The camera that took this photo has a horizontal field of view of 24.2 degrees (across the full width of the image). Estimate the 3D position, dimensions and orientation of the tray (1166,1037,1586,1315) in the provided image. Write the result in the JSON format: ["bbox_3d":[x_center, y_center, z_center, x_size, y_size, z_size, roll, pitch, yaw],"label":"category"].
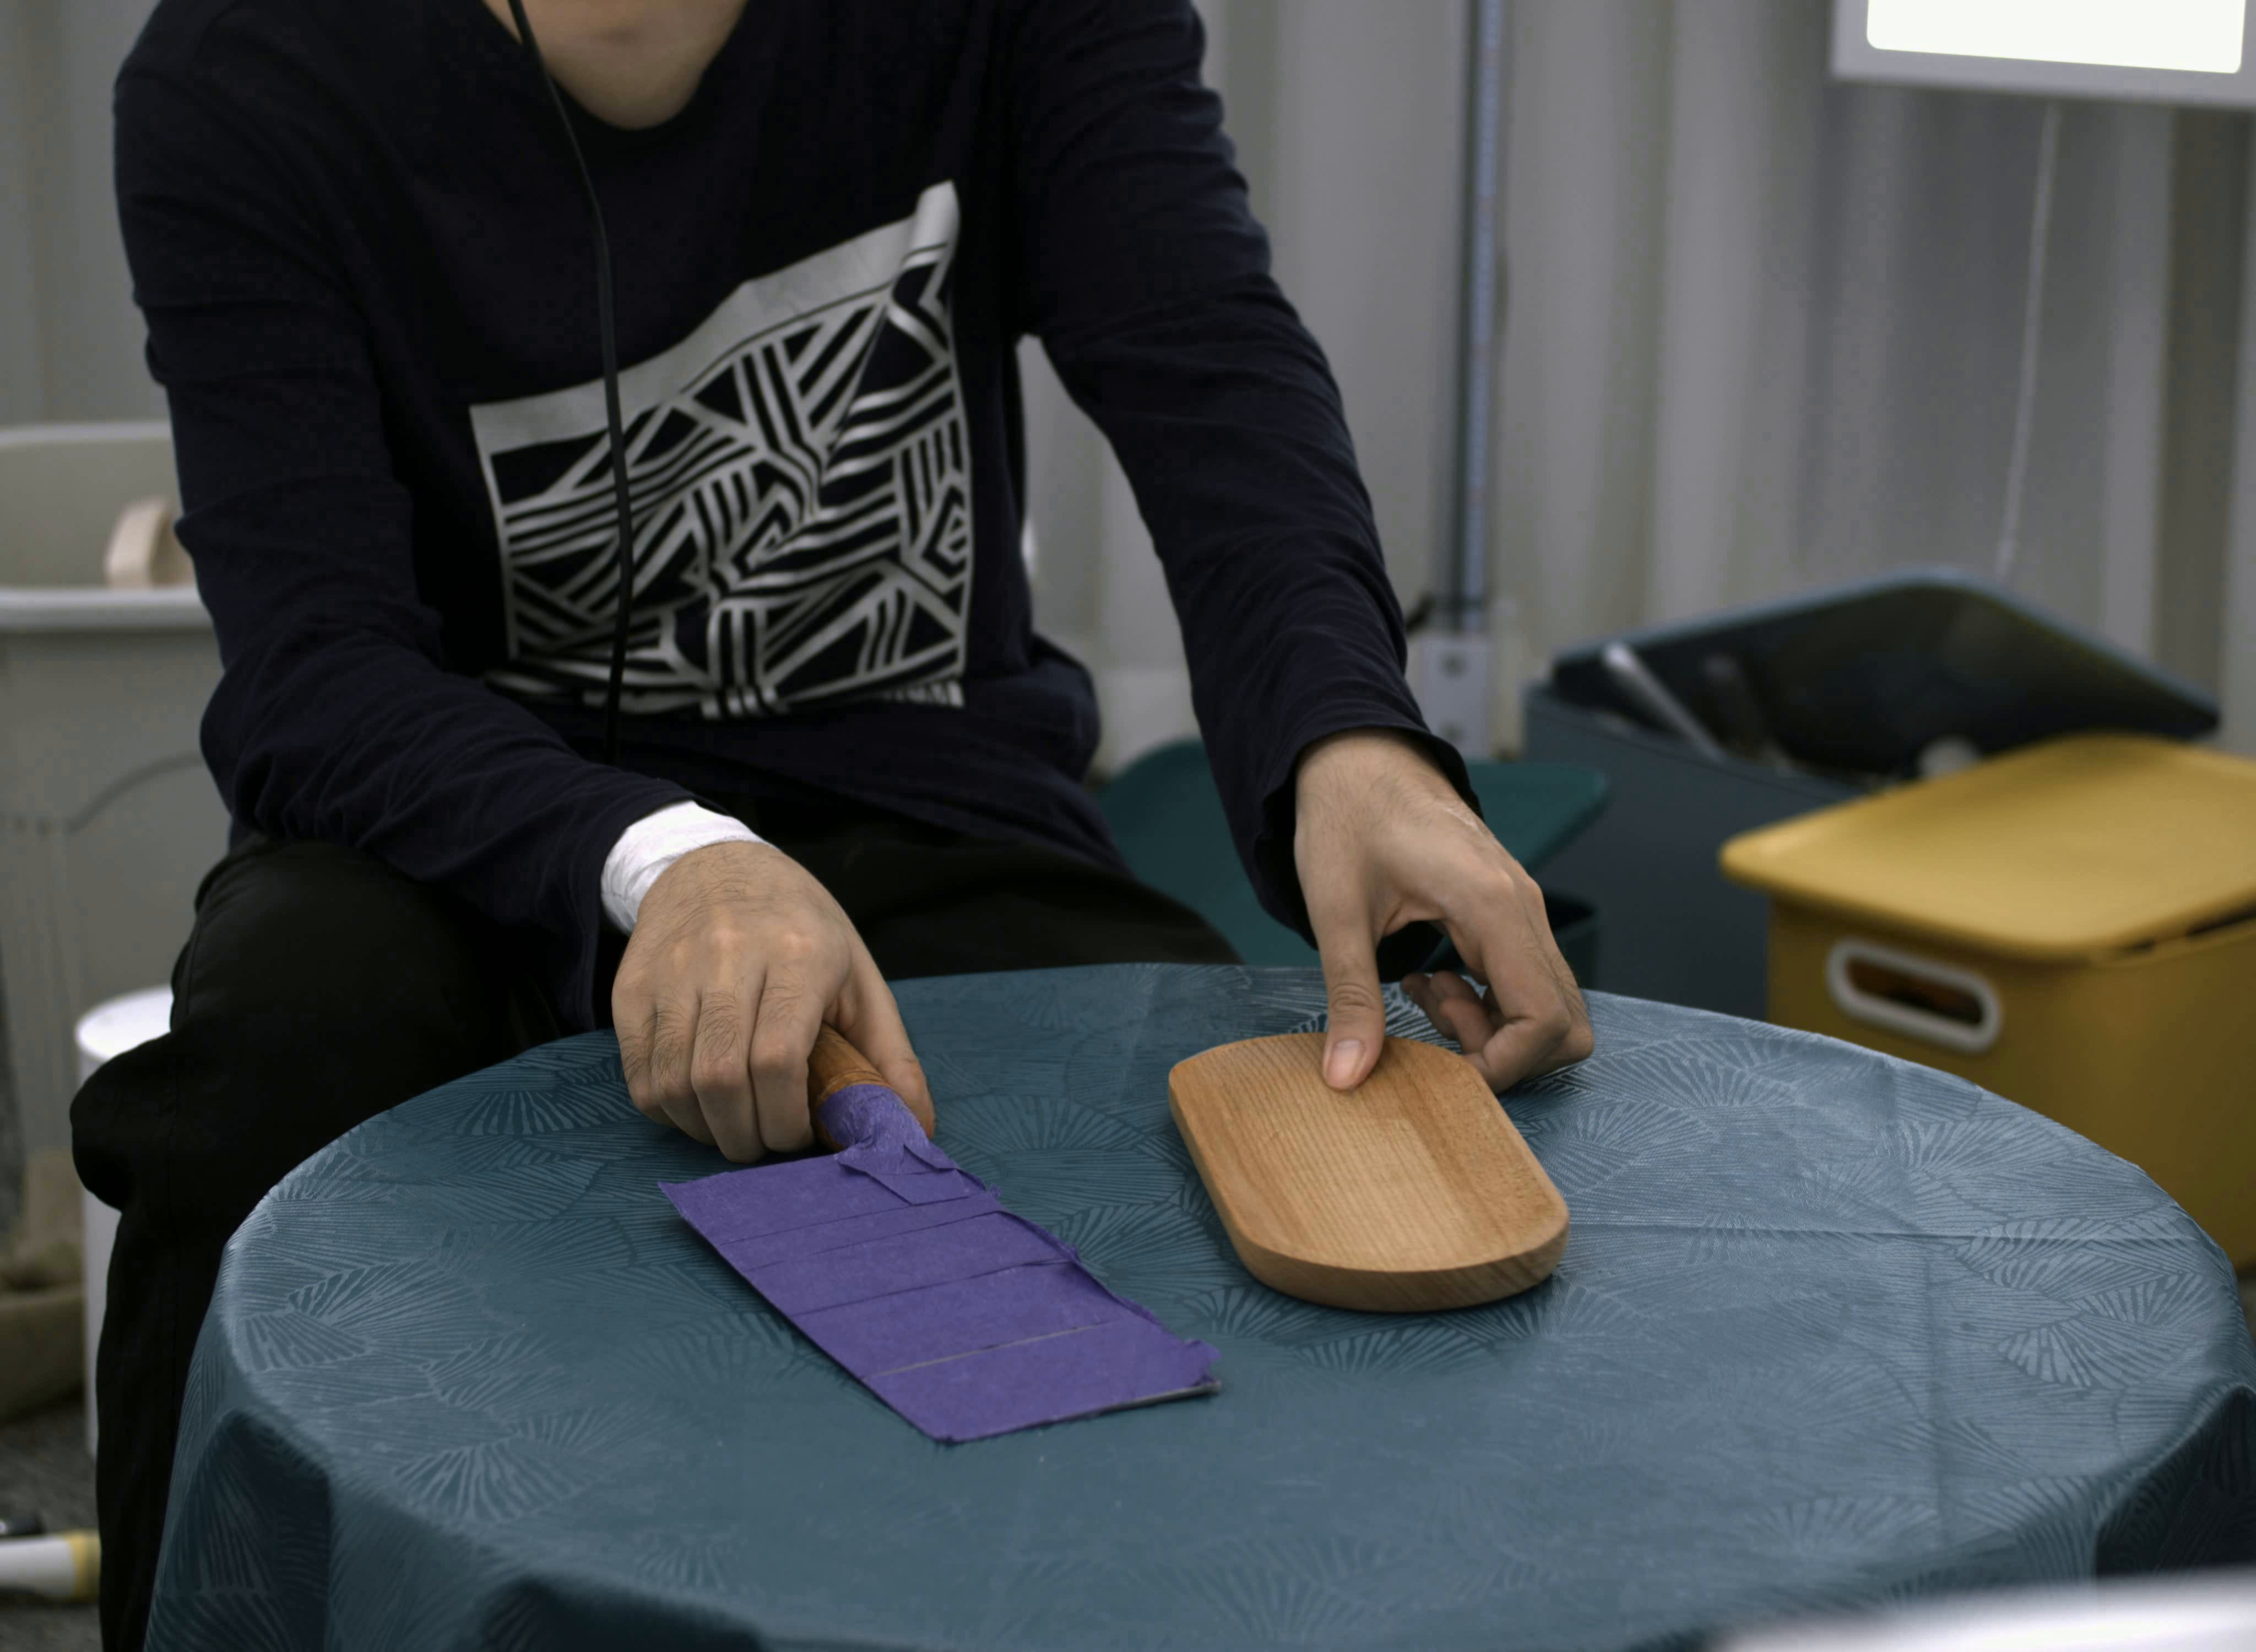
[{"bbox_3d":[0.074,0.105,1.622,0.101,0.020,0.229,-4,17,-9],"label":"tray"}]

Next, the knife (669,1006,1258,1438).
[{"bbox_3d":[-0.079,0.114,1.568,0.104,0.032,0.311,-8,18,-26],"label":"knife"}]
